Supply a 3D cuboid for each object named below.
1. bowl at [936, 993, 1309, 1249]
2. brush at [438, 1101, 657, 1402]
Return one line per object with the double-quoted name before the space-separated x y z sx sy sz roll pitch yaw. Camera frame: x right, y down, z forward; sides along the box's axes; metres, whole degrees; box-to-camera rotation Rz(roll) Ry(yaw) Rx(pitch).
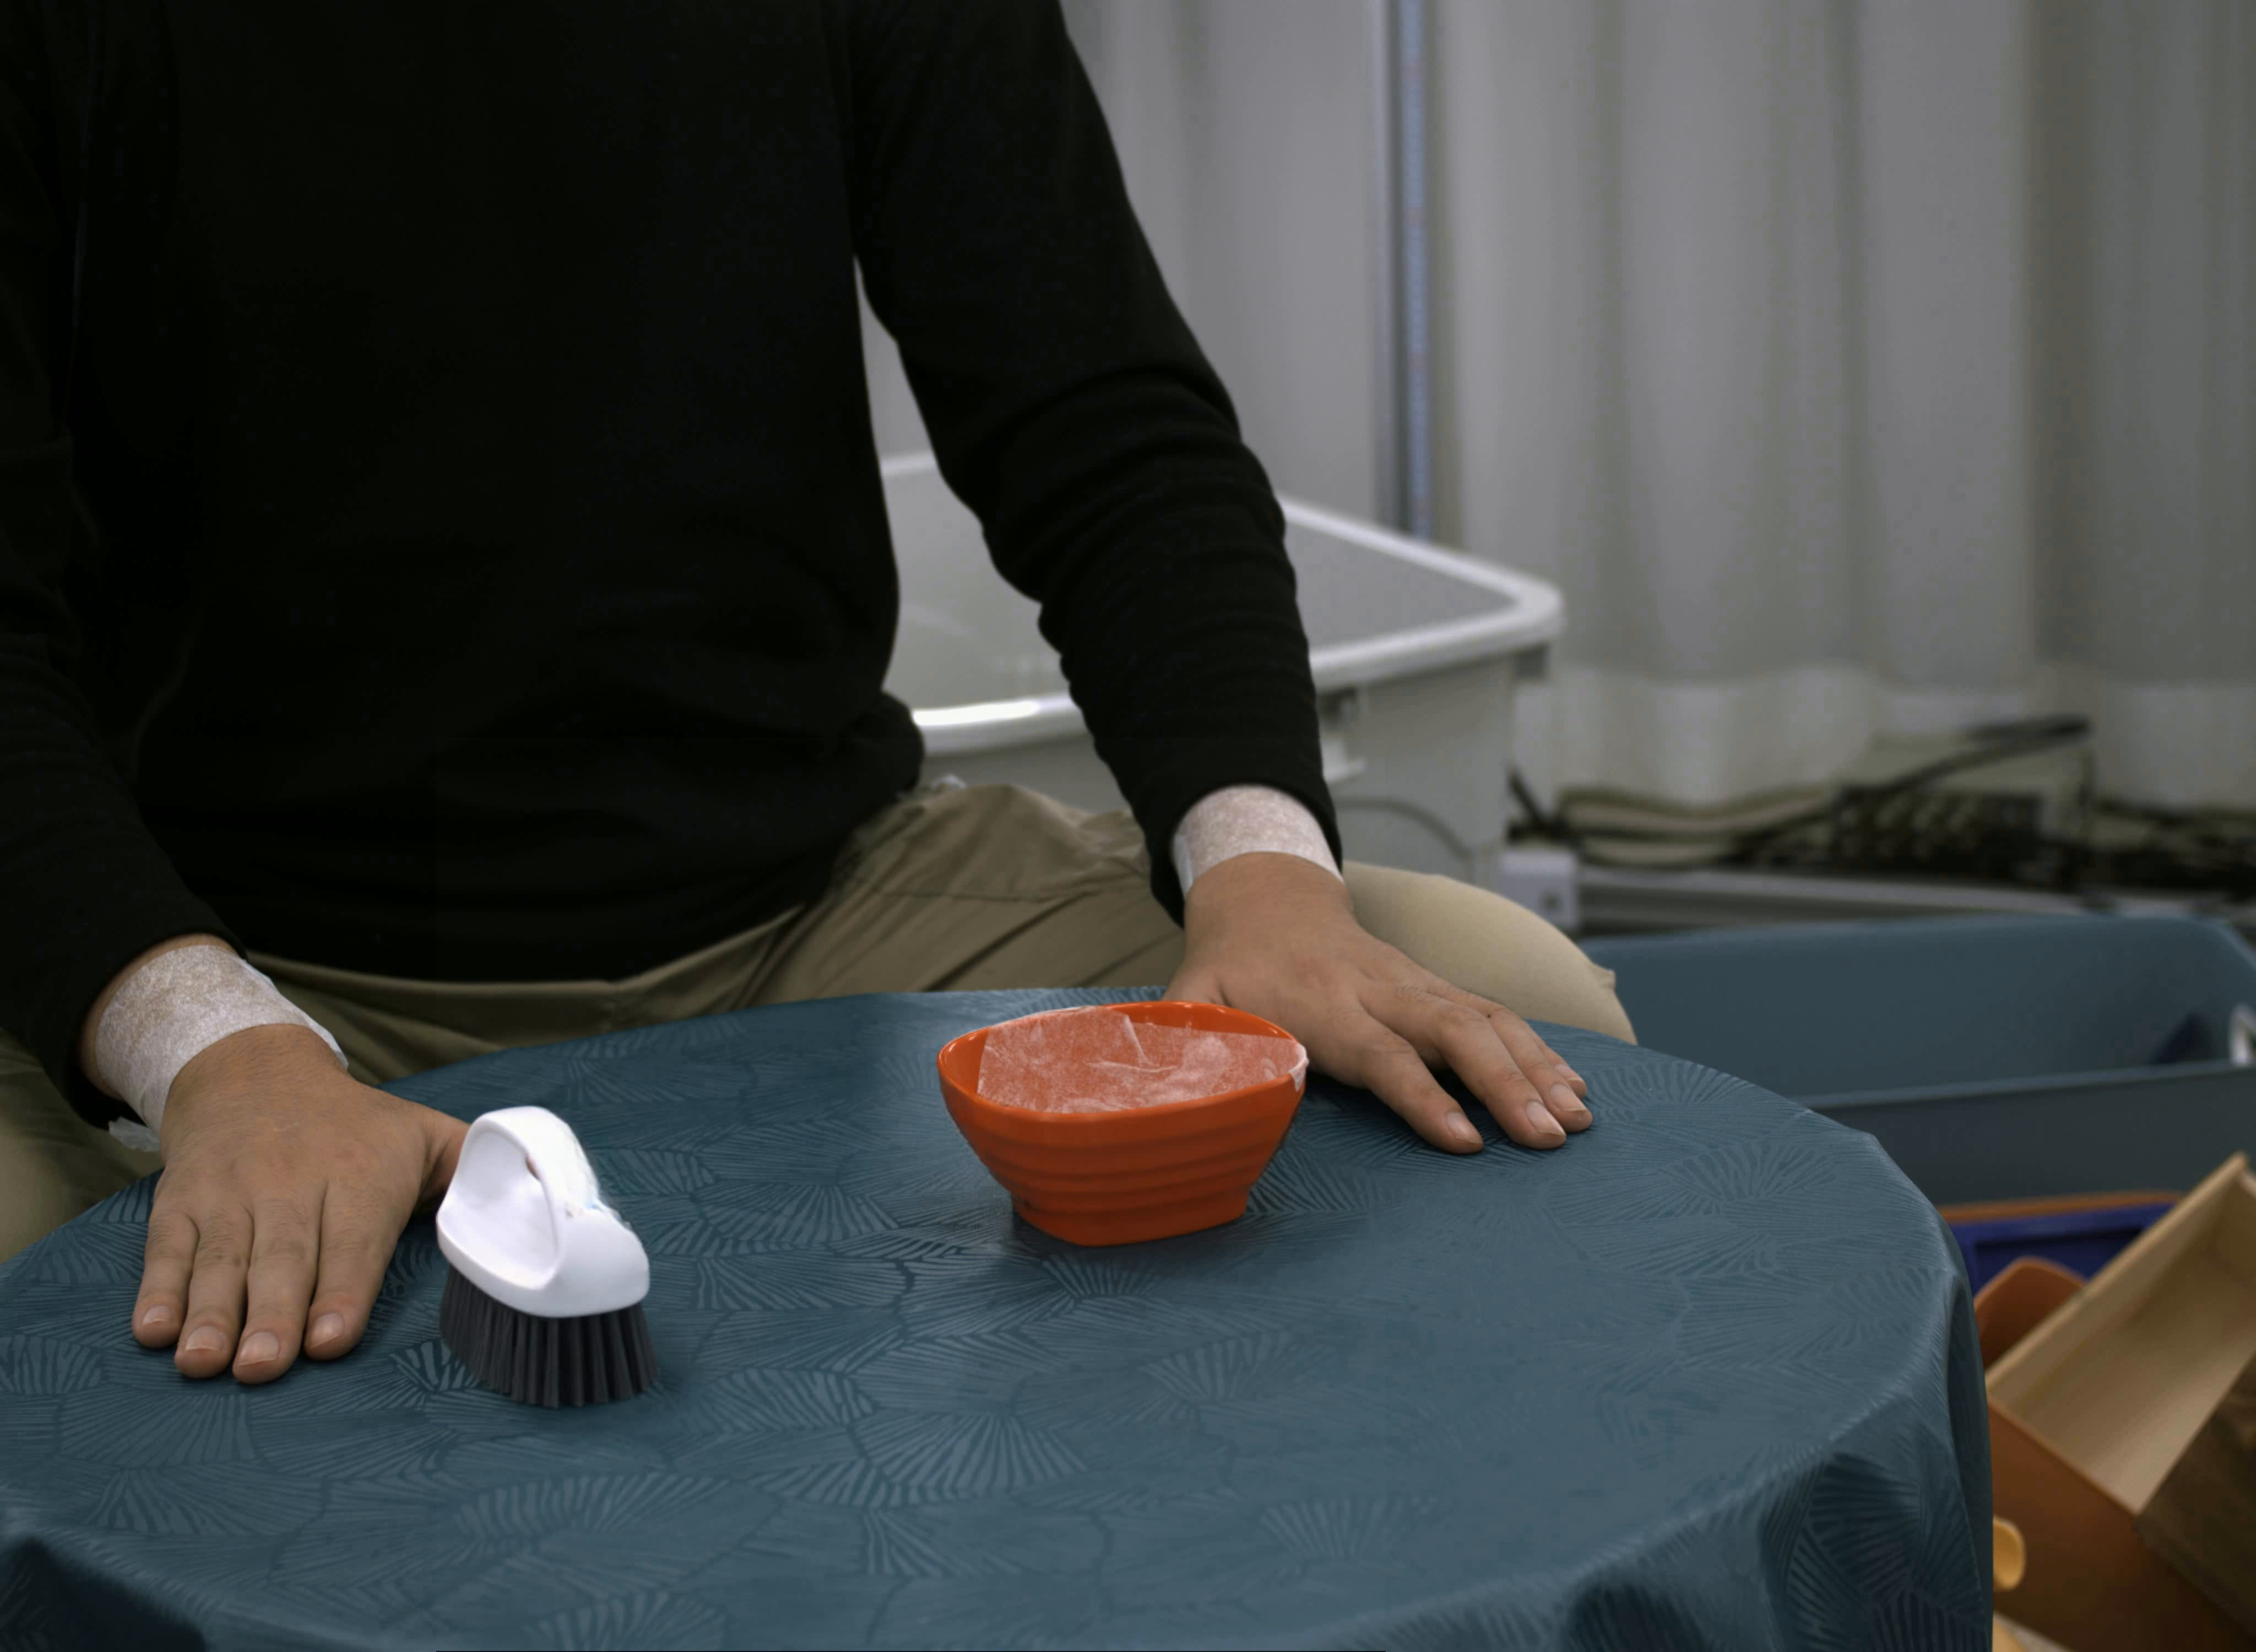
"bowl" -0.001 0.094 1.692 0.118 0.051 0.120 -3 17 1
"brush" -0.171 0.118 1.590 0.050 0.072 0.100 -8 15 -21
